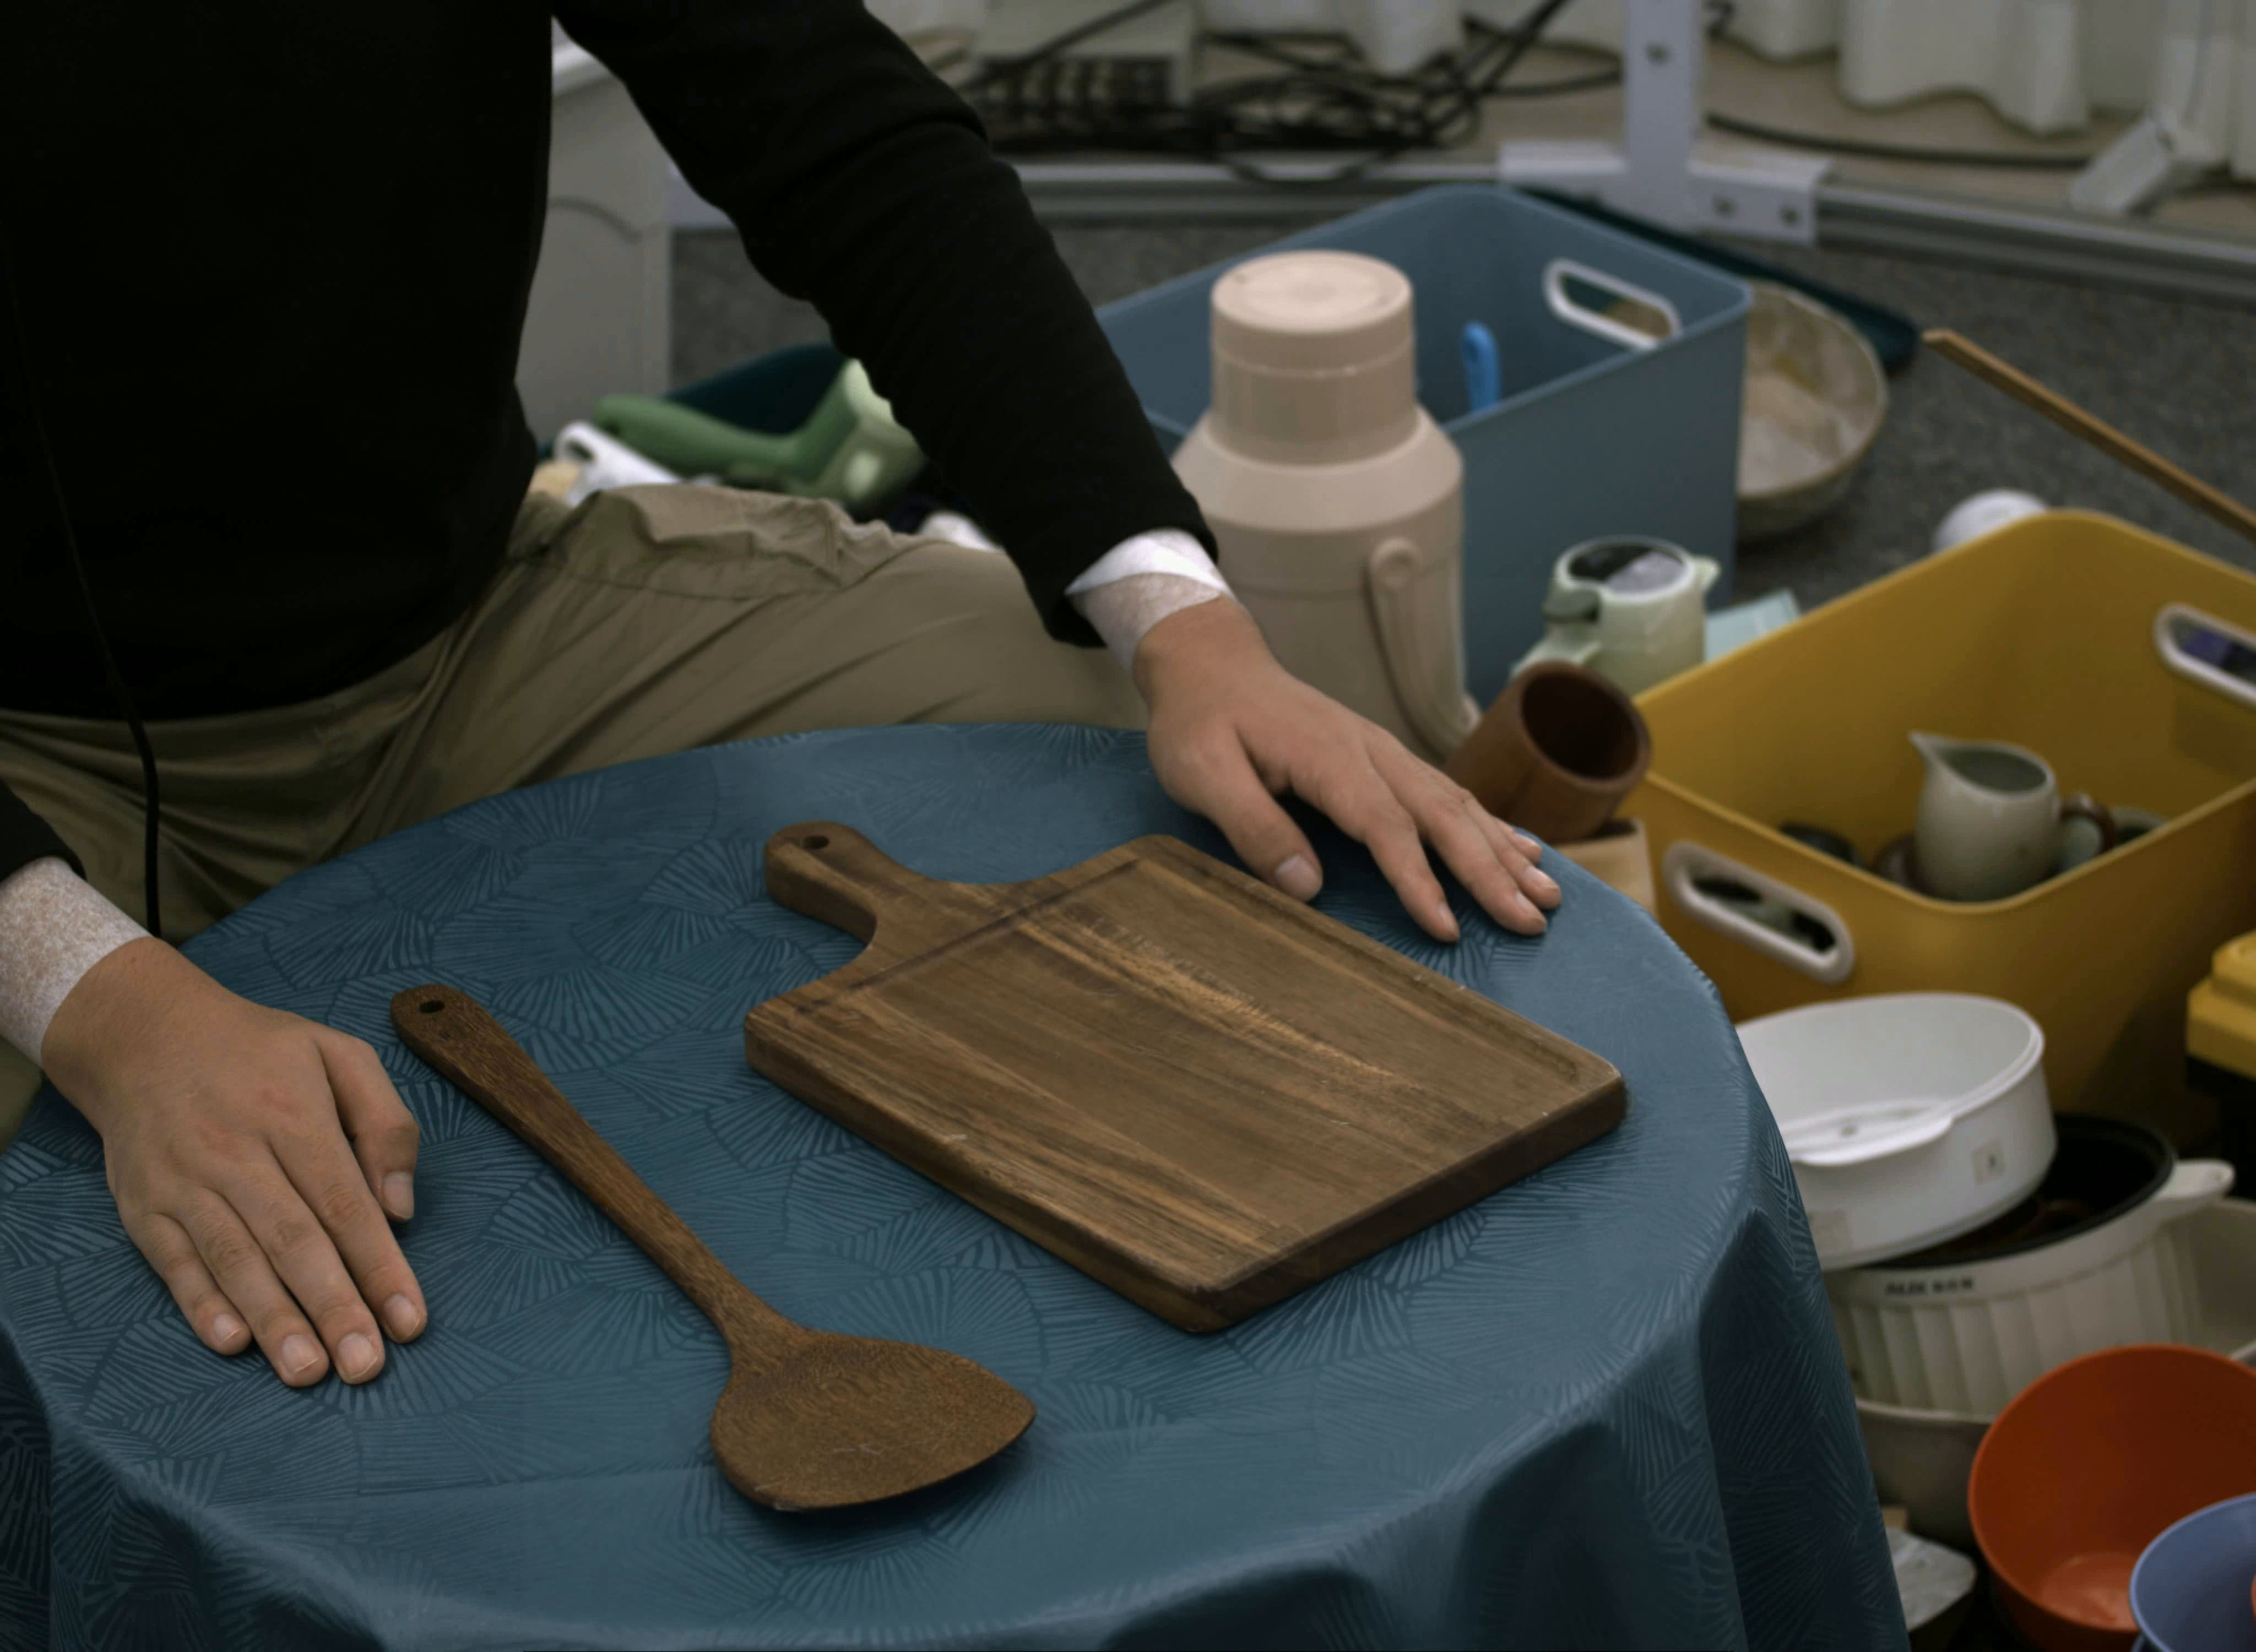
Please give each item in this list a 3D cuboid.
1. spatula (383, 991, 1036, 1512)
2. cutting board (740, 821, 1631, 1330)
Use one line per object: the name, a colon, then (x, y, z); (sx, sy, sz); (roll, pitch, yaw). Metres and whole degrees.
spatula: (-0.158, 0.130, 1.844); (0.097, 0.015, 0.387); (-17, 30, -26)
cutting board: (-0.014, 0.065, 1.948); (0.203, 0.023, 0.352); (-23, 33, -34)
